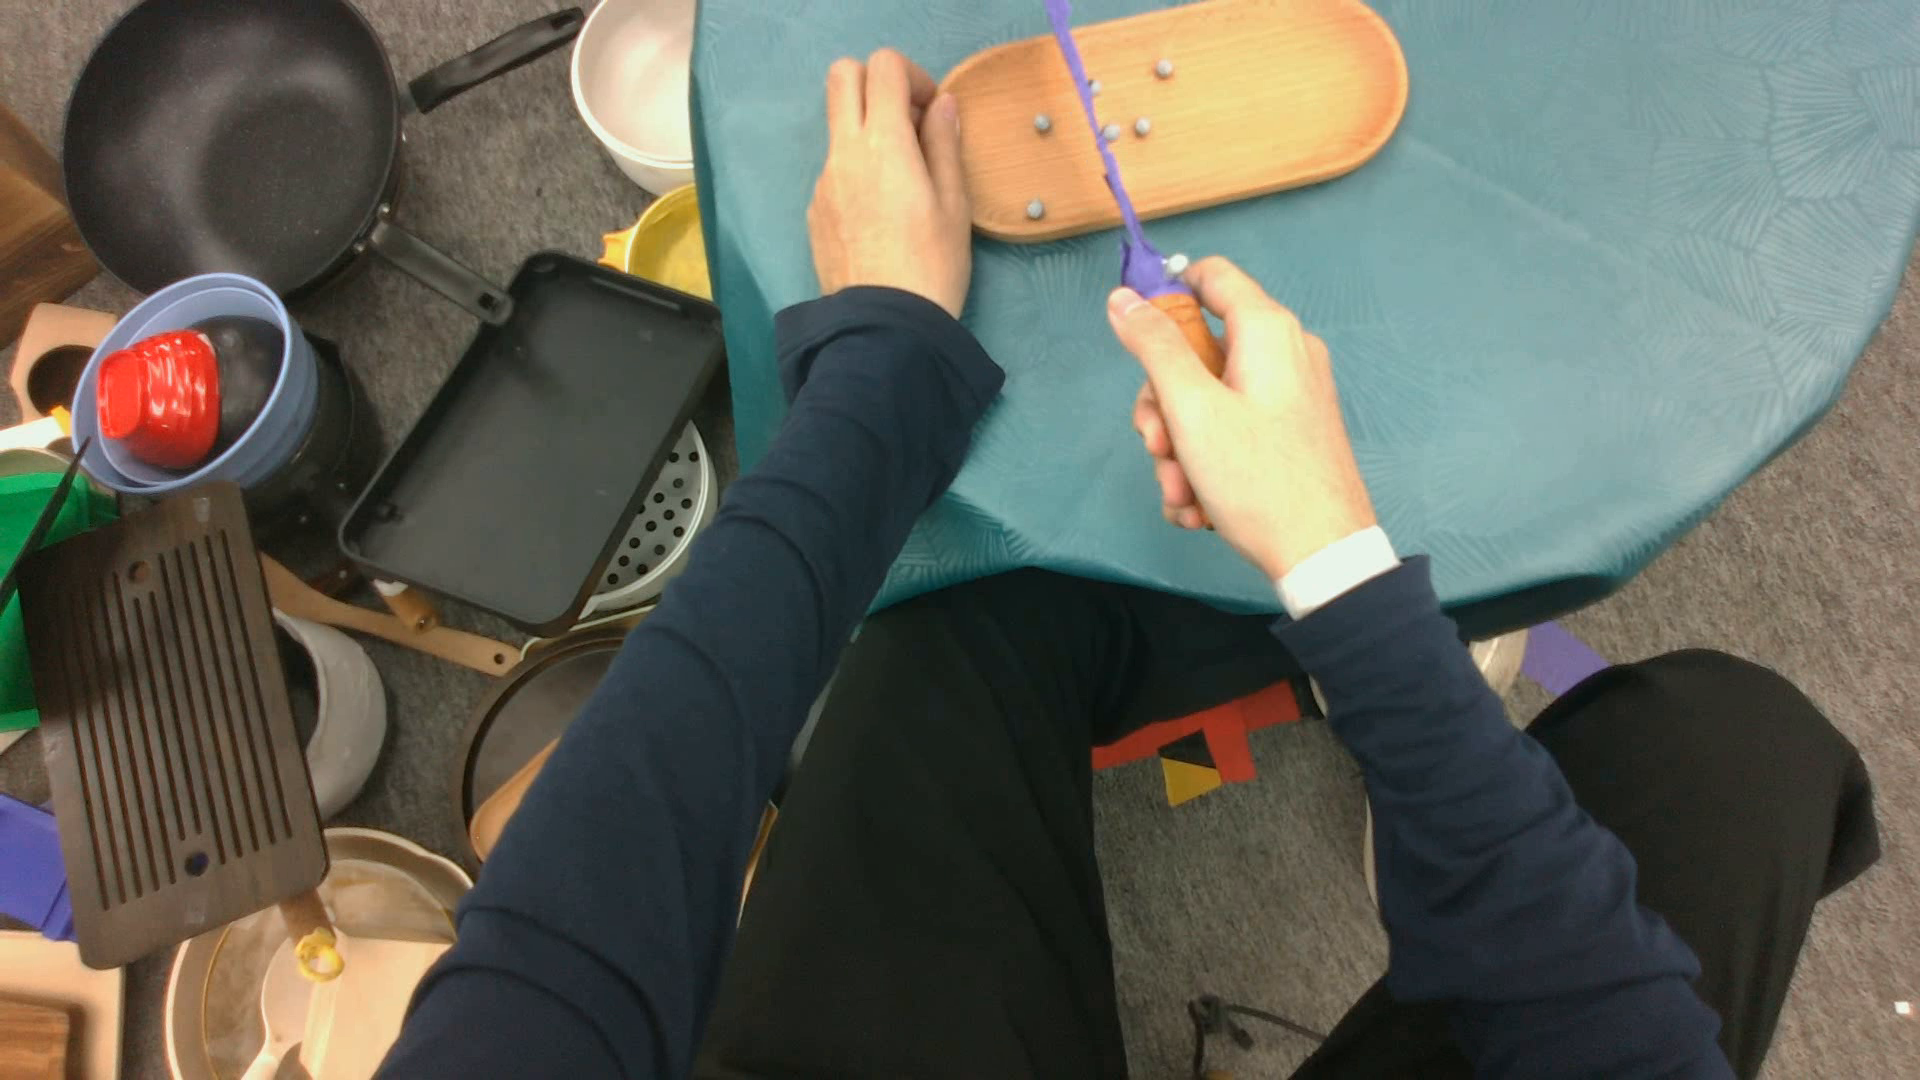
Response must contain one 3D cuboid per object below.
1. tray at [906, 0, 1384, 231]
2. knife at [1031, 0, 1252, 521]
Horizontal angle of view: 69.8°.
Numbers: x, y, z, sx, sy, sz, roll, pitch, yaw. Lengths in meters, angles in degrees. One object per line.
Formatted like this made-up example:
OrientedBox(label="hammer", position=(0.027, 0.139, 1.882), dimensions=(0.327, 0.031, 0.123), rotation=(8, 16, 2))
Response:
OrientedBox(label="tray", position=(0.088, -0.208, 0.659), dimensions=(0.231, 0.020, 0.102), rotation=(-13, 78, -4))
OrientedBox(label="knife", position=(0.062, -0.157, 0.577), dimensions=(0.032, 0.104, 0.315), rotation=(-18, 80, 12))
